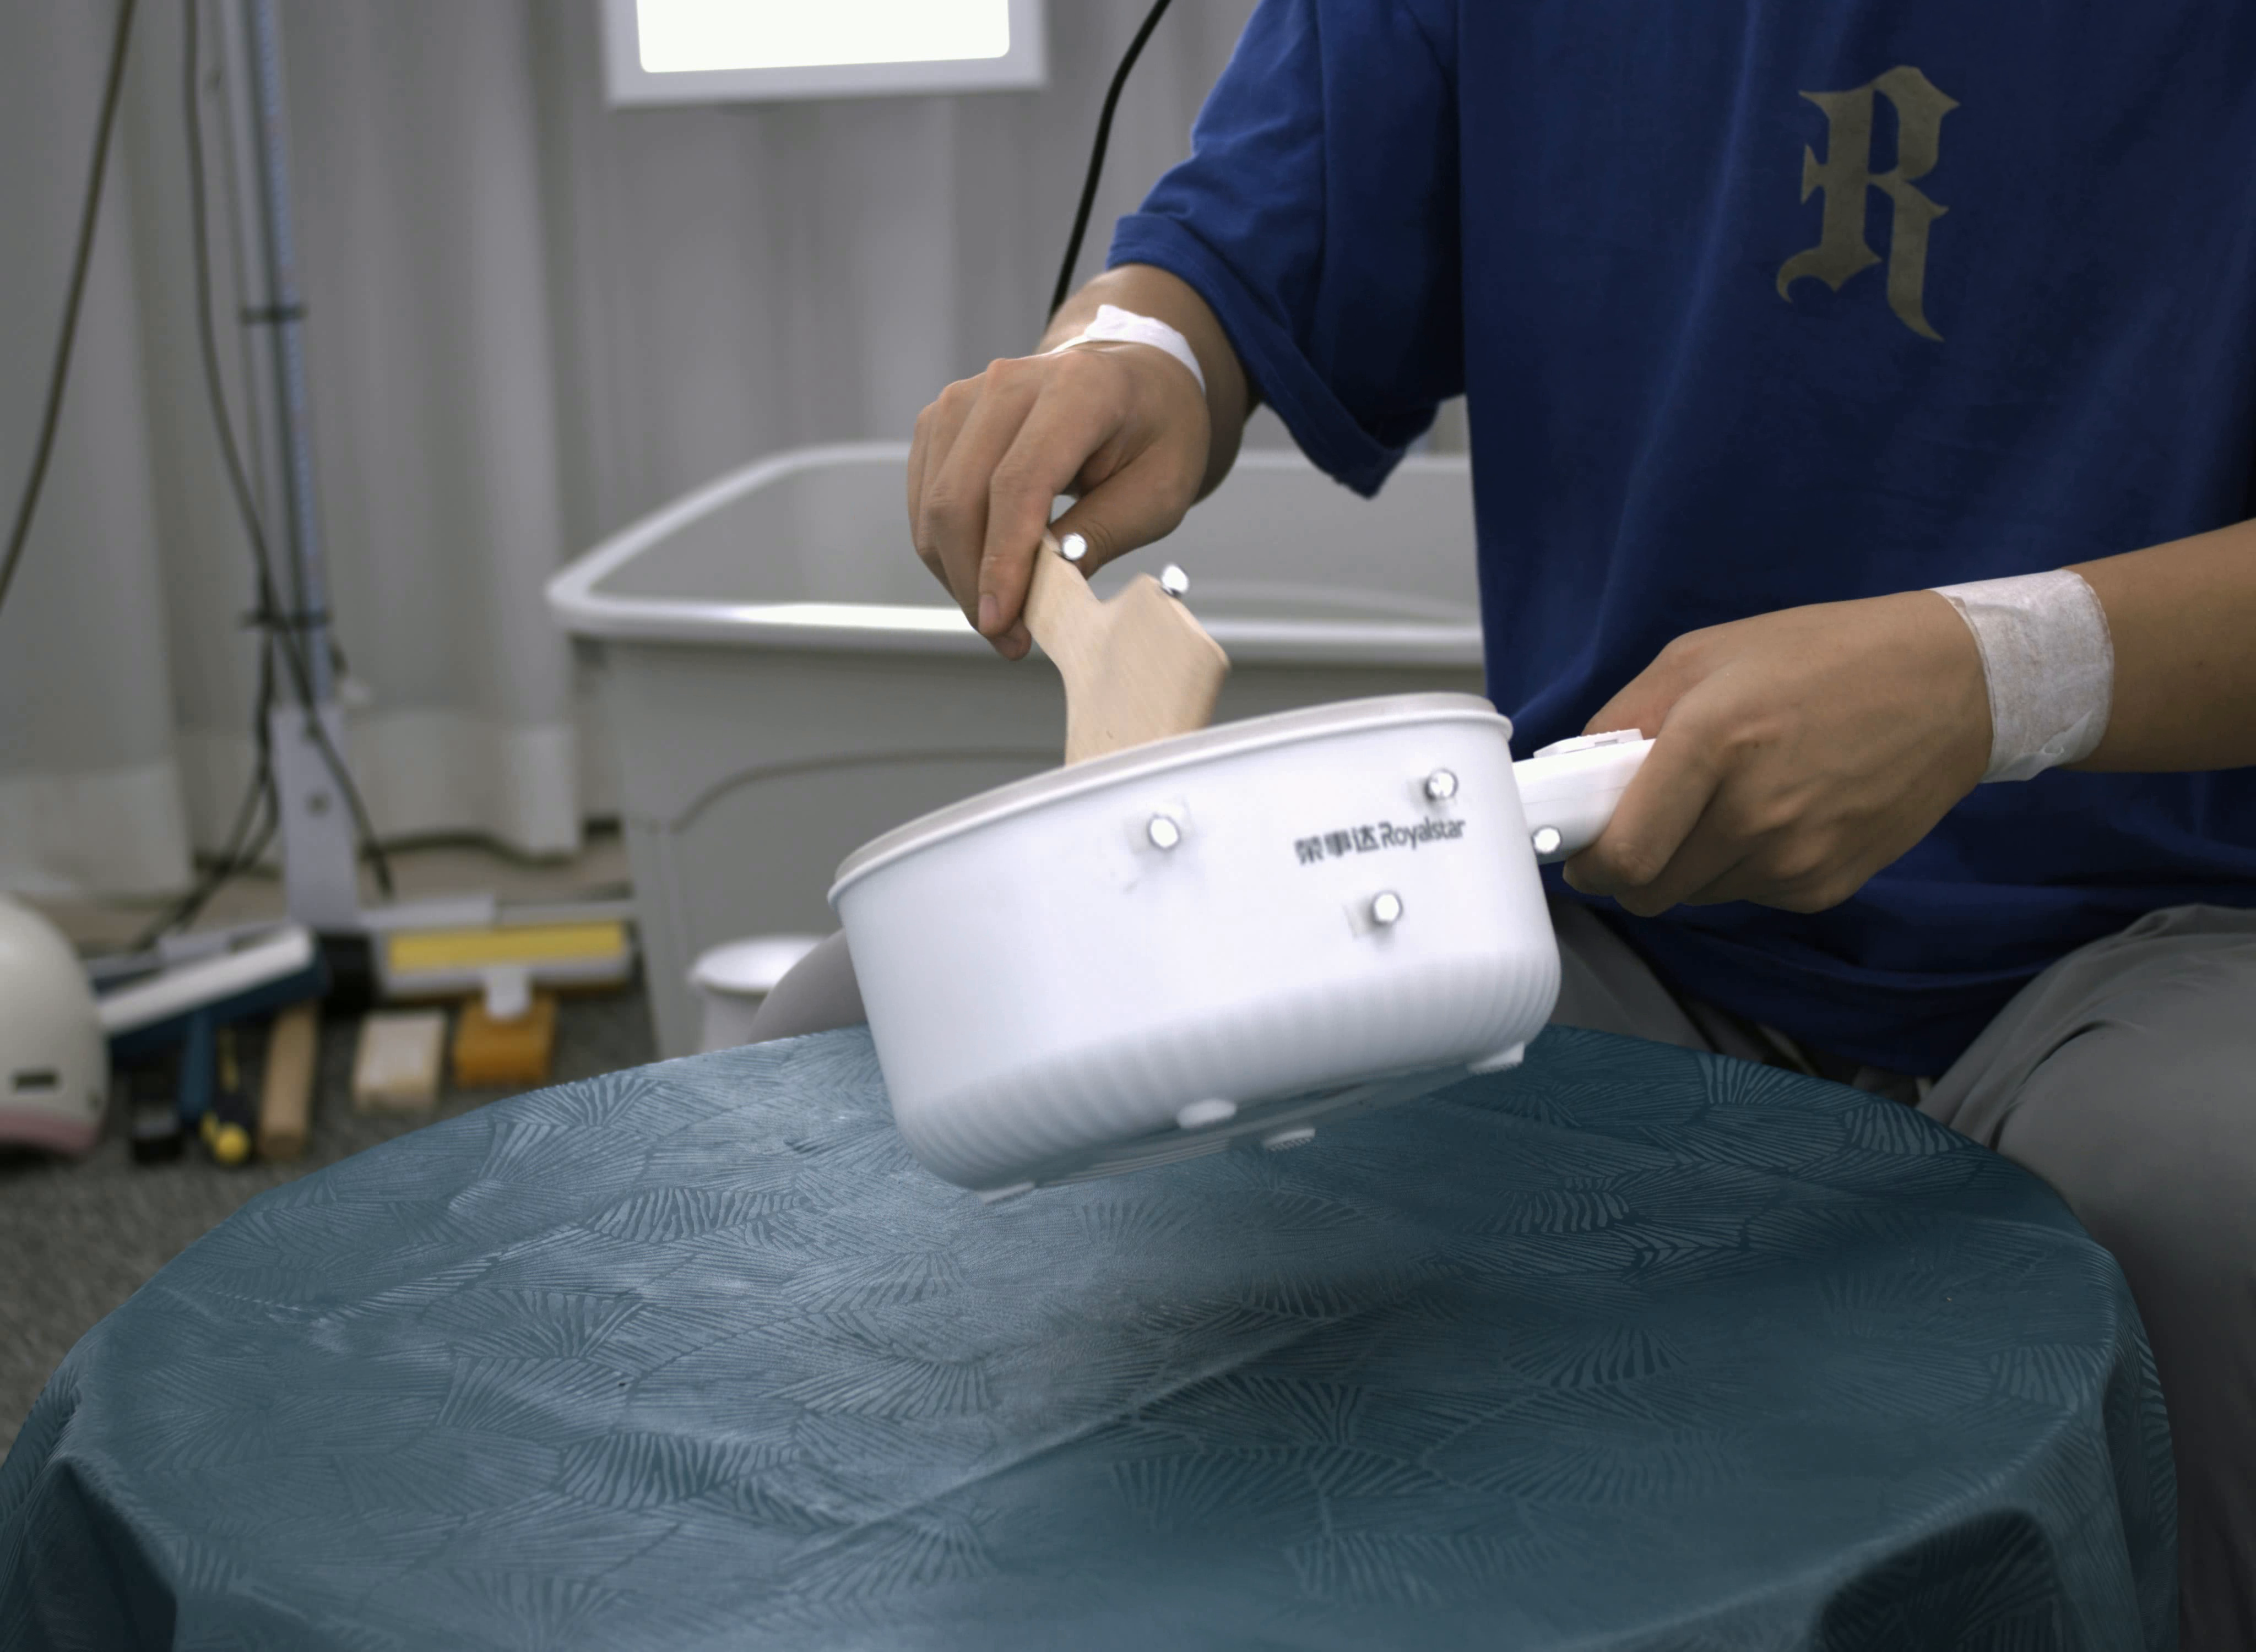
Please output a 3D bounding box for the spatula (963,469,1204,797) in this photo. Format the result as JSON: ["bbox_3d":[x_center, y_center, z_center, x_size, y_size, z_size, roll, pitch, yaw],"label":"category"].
[{"bbox_3d":[-0.021,-0.066,1.691,0.010,0.072,0.296,15,13,-16],"label":"spatula"}]

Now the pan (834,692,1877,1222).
[{"bbox_3d":[0.086,0.032,1.592,0.353,0.103,0.200,-9,-12,-36],"label":"pan"}]
